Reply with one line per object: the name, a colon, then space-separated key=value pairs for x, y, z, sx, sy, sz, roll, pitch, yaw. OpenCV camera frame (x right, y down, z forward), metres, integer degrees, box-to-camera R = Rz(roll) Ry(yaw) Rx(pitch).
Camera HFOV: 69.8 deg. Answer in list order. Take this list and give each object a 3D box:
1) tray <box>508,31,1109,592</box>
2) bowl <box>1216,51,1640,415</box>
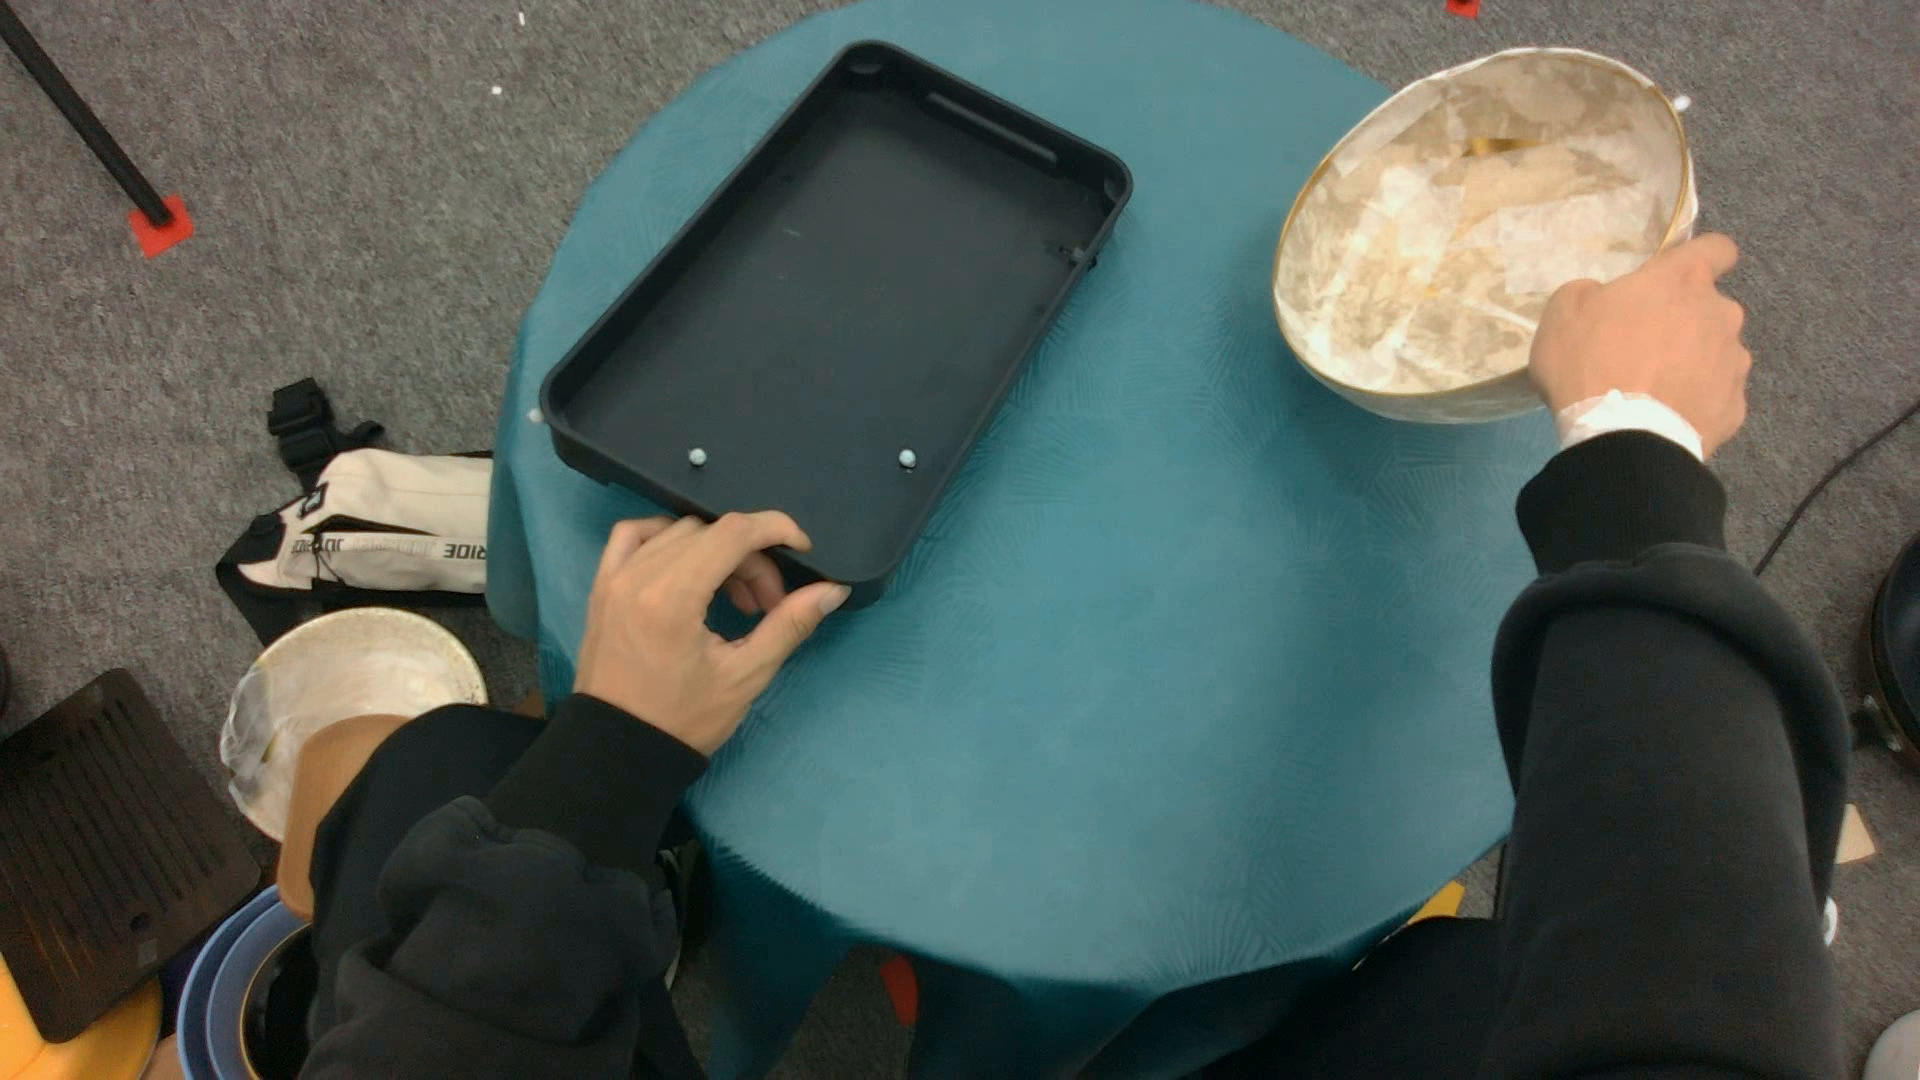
tray: x=-0.064 y=-0.132 z=0.704 sx=0.184 sy=0.037 sz=0.319 roll=29 pitch=57 yaw=5
bowl: x=0.246 y=-0.141 z=0.715 sx=0.214 sy=0.094 sz=0.215 roll=-18 pitch=54 yaw=26
